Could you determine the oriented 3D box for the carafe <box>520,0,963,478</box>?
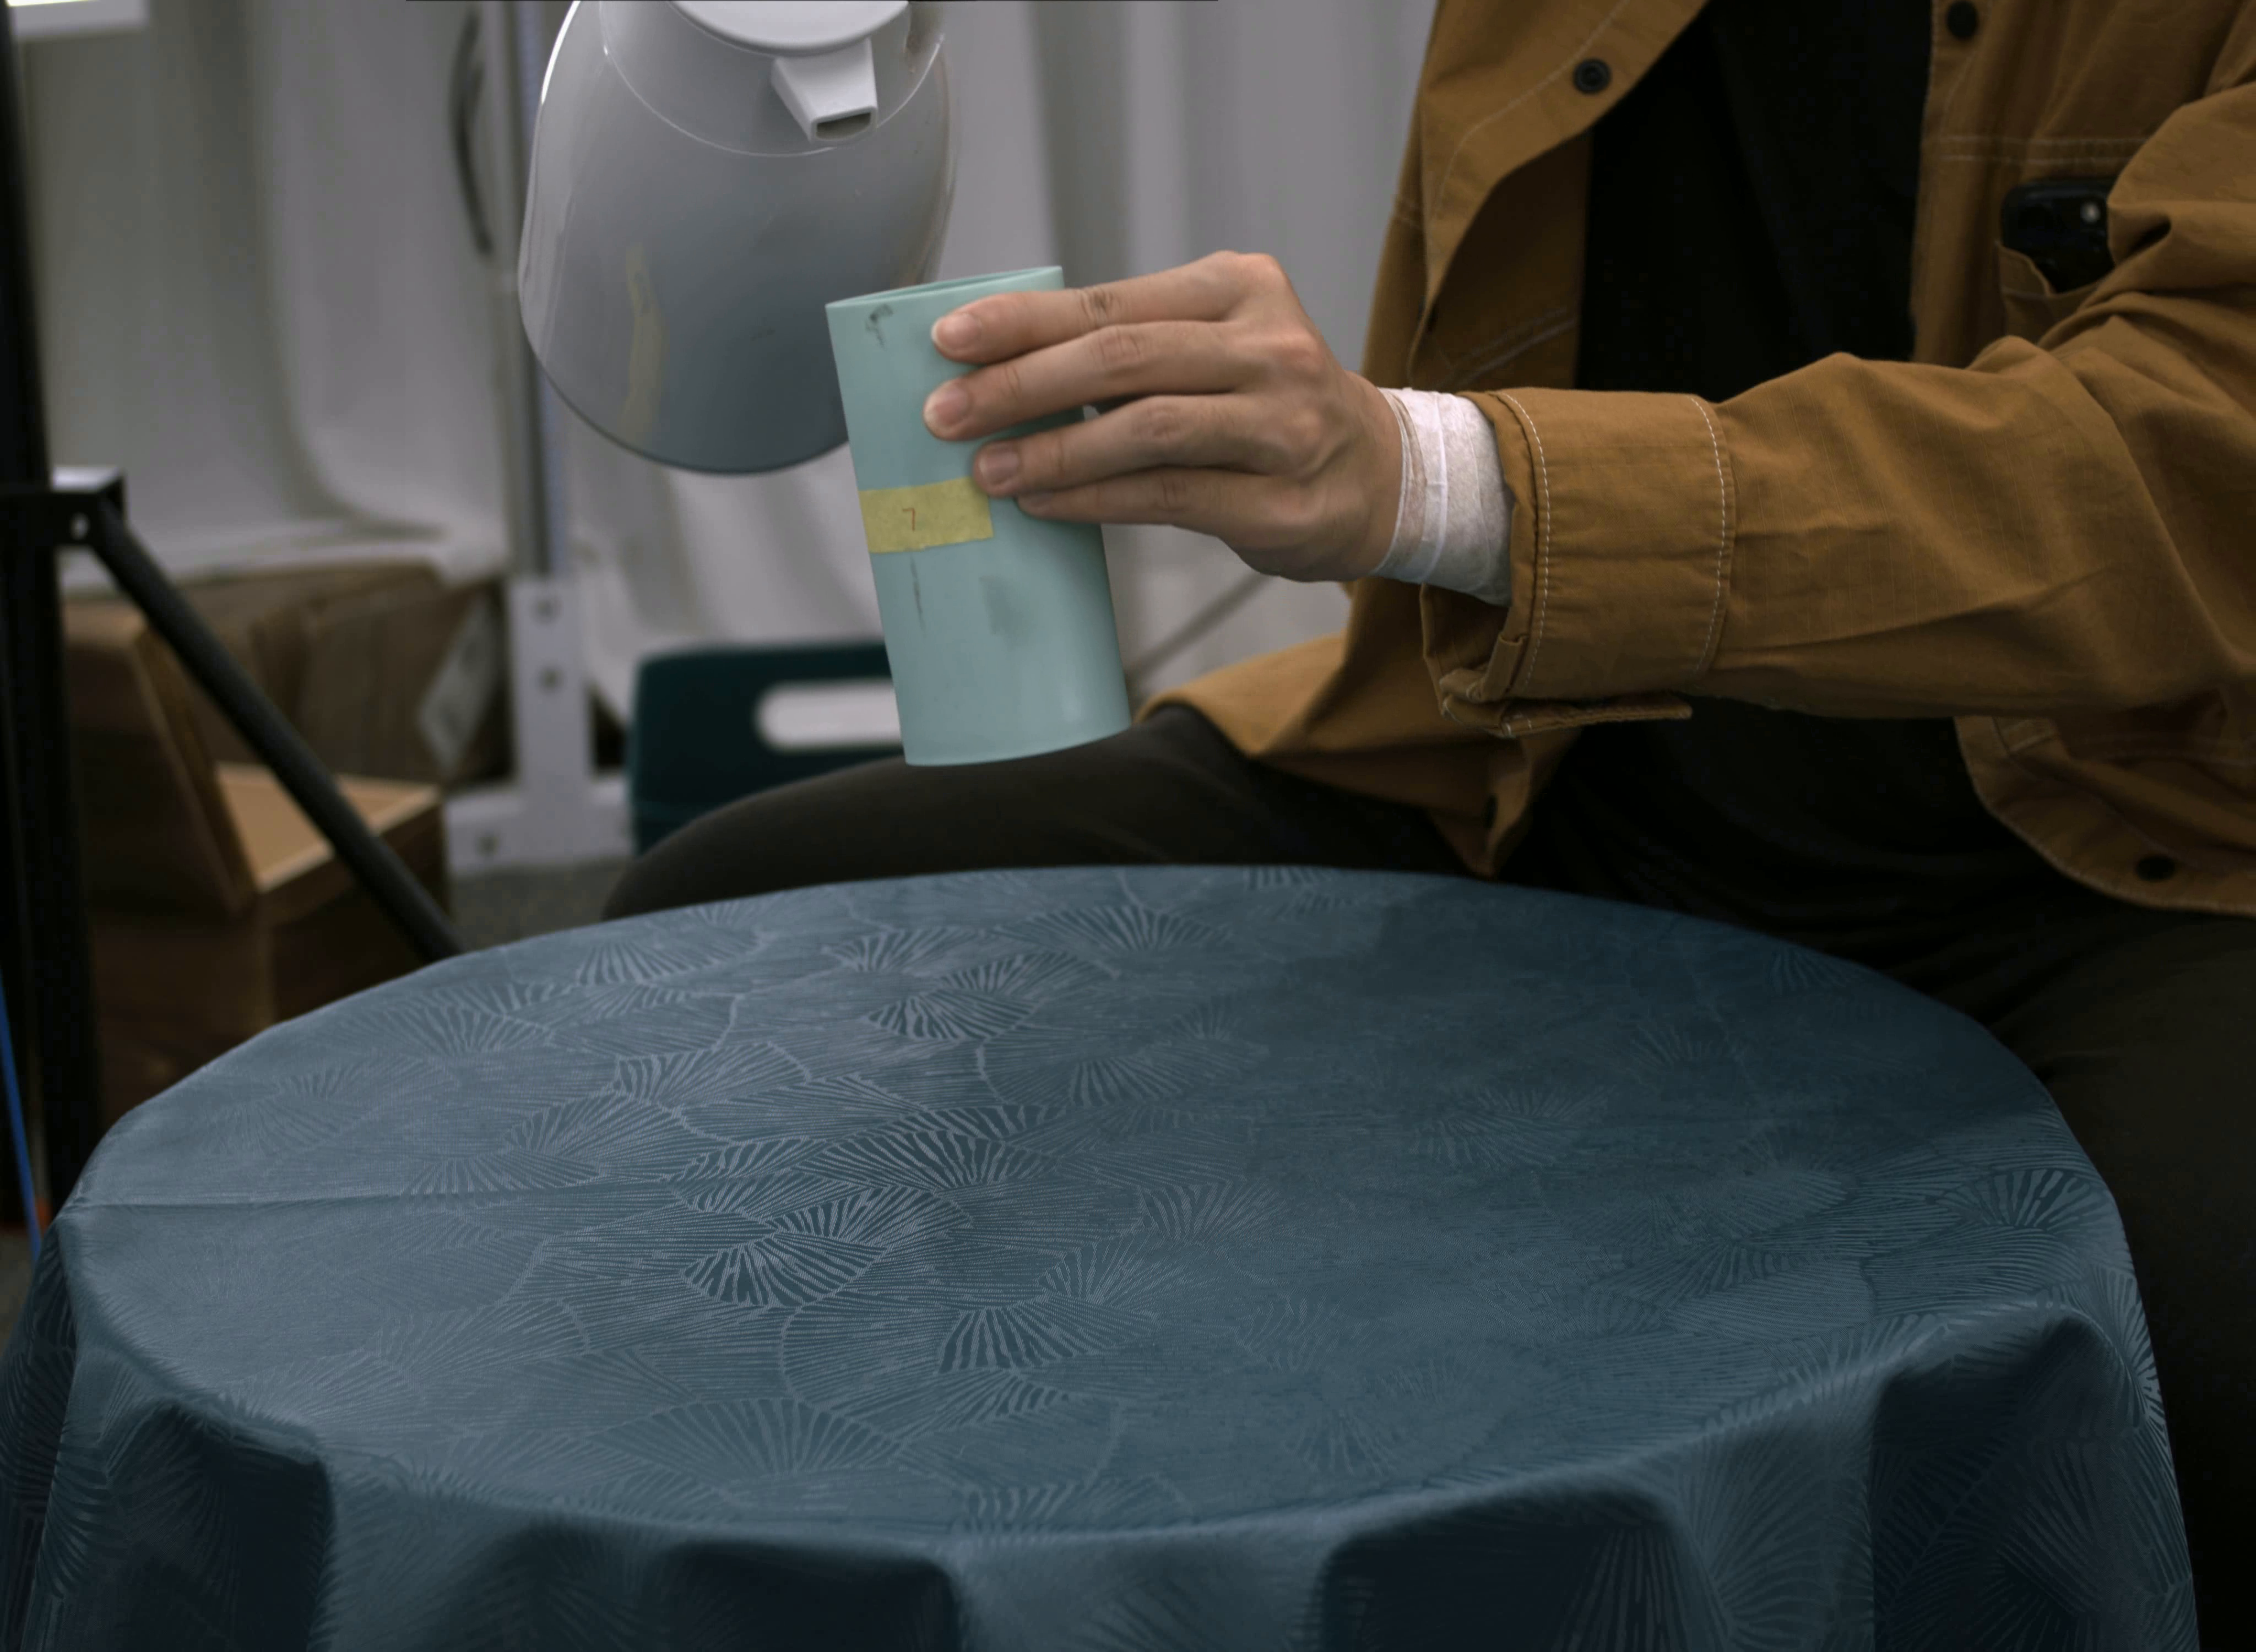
[{"bbox_3d":[-0.119,-0.234,1.614,0.131,0.170,0.248,-15,-20,-14],"label":"carafe"}]

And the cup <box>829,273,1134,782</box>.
[{"bbox_3d":[-0.039,-0.083,1.481,0.066,0.132,0.067,-9,7,0],"label":"cup"}]
